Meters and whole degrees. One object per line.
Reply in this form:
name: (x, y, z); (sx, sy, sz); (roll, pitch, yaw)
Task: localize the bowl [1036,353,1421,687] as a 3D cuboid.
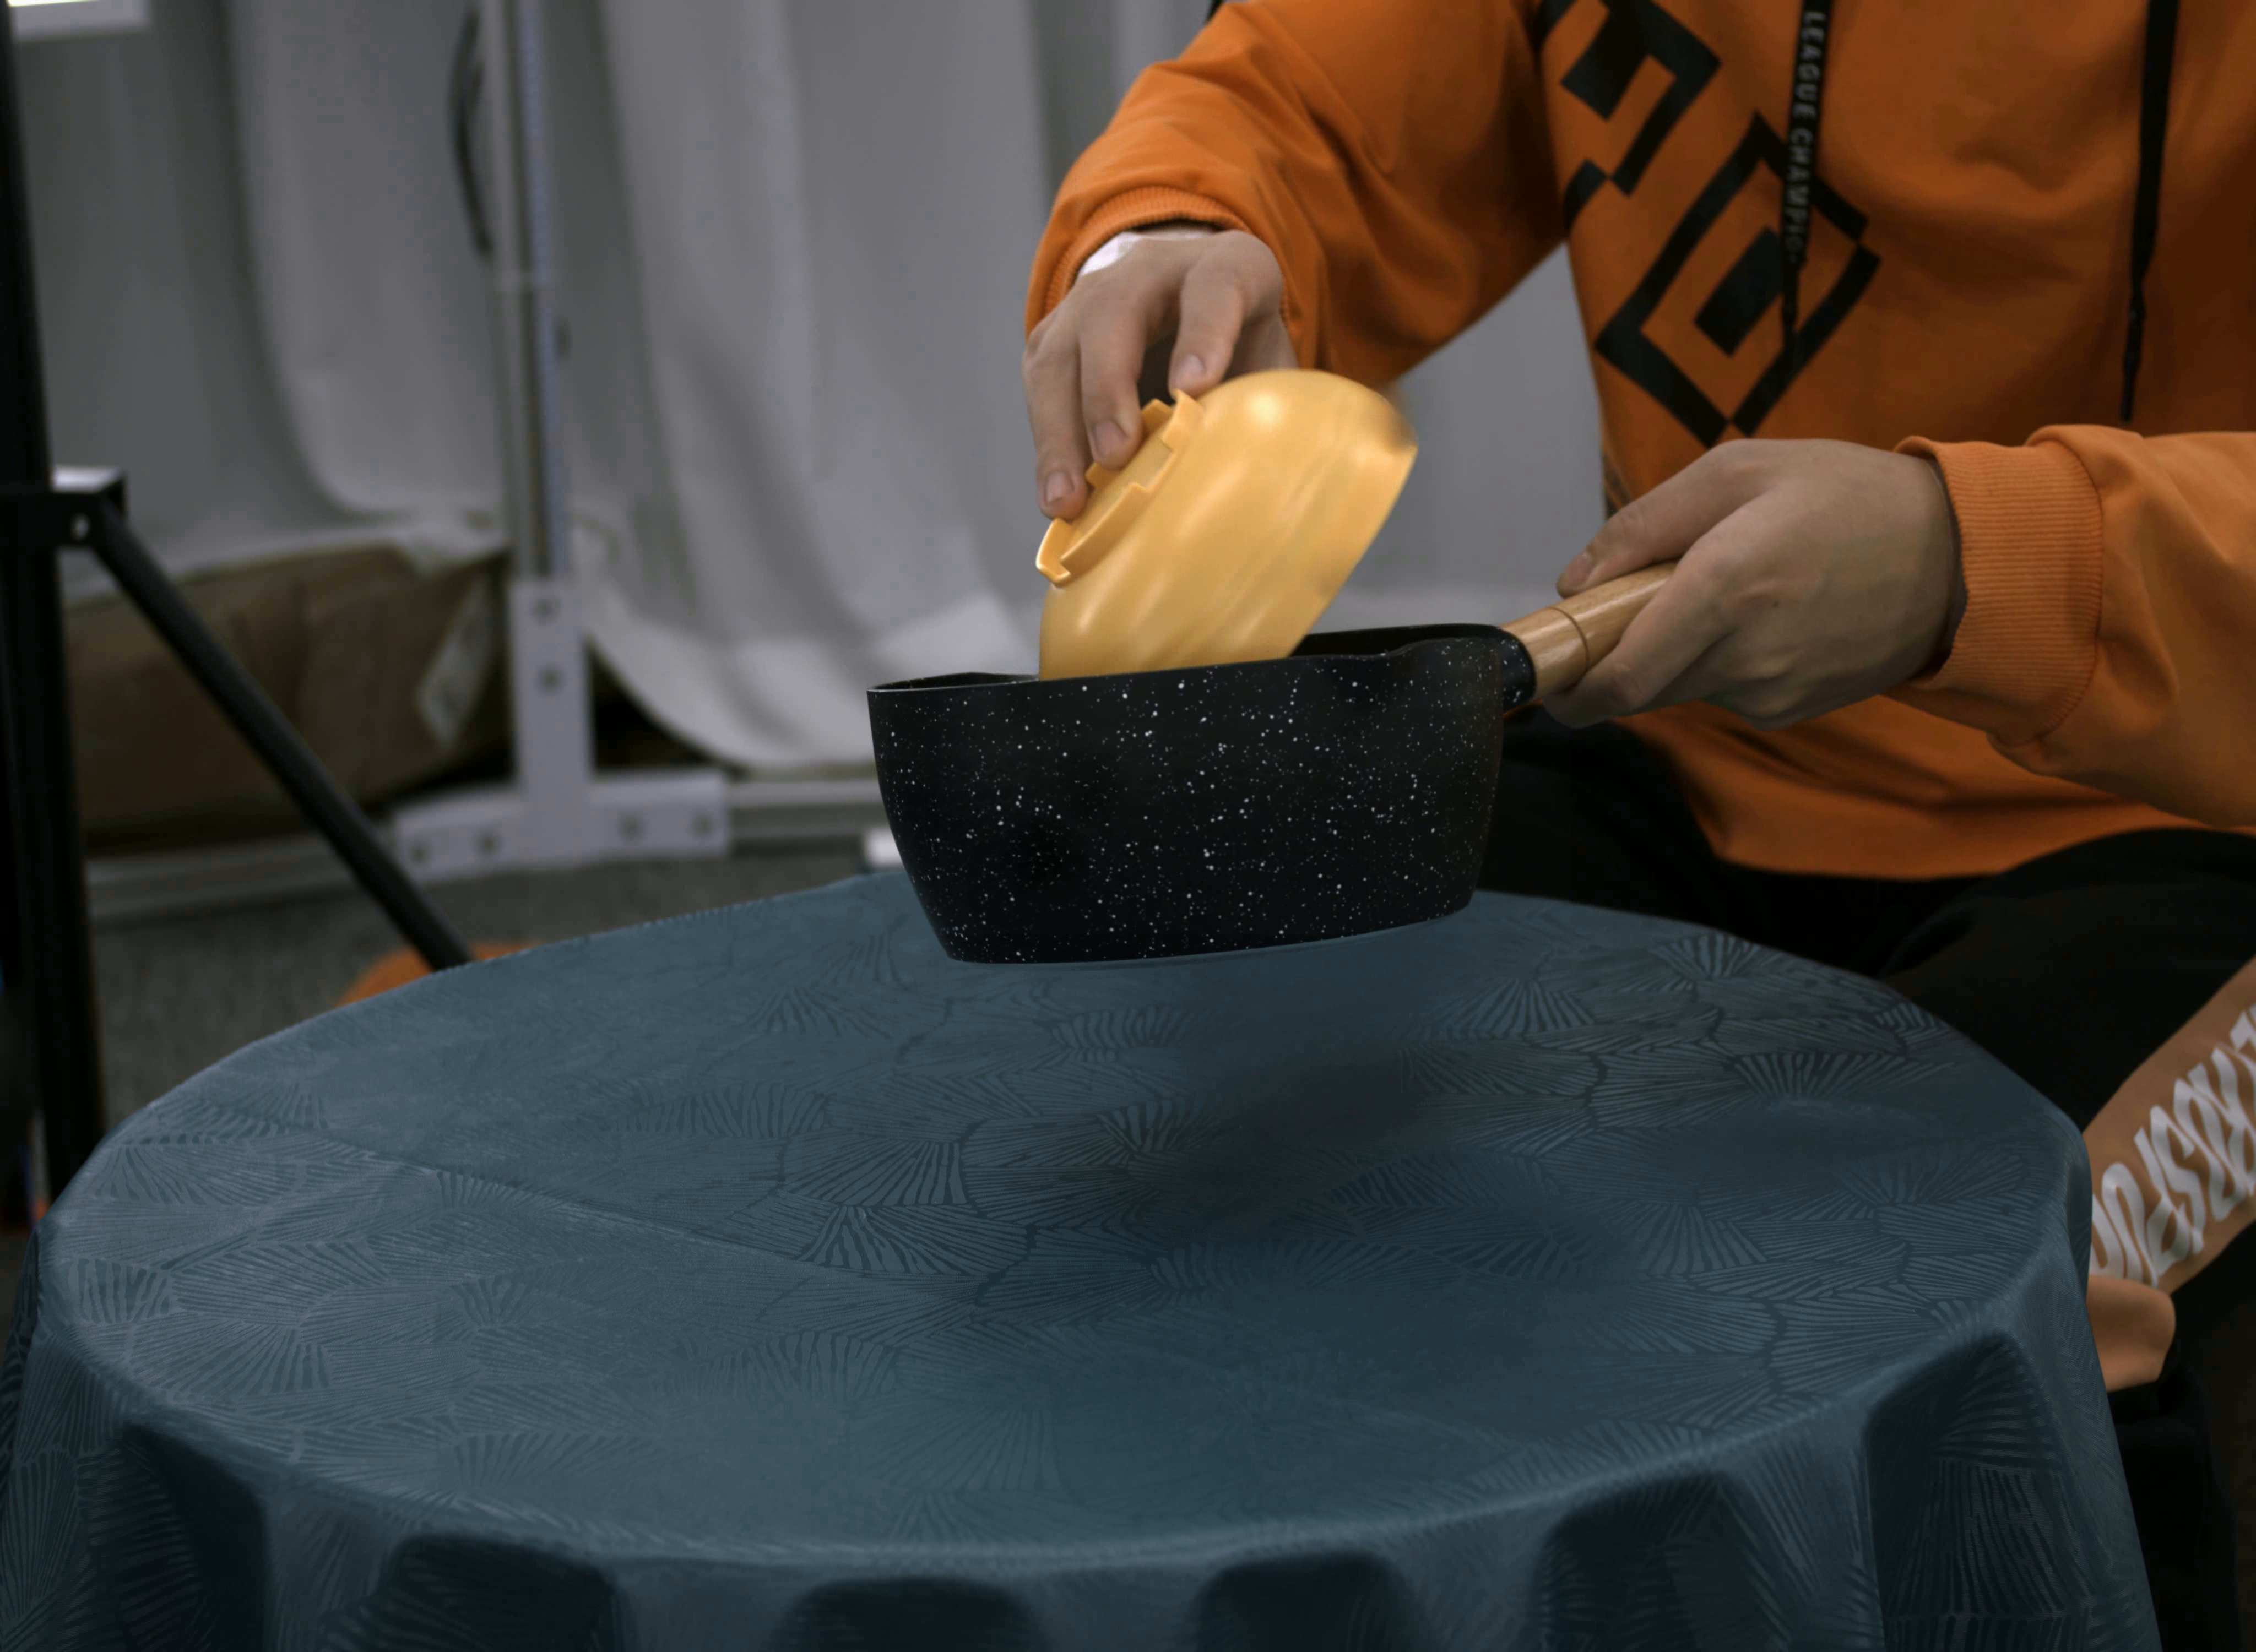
bowl: (0.016, -0.086, 1.539); (0.059, 0.146, 0.146); (38, 11, -13)

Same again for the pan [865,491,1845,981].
pan: (0.083, -0.028, 1.585); (0.335, 0.108, 0.211); (-9, 3, -33)
